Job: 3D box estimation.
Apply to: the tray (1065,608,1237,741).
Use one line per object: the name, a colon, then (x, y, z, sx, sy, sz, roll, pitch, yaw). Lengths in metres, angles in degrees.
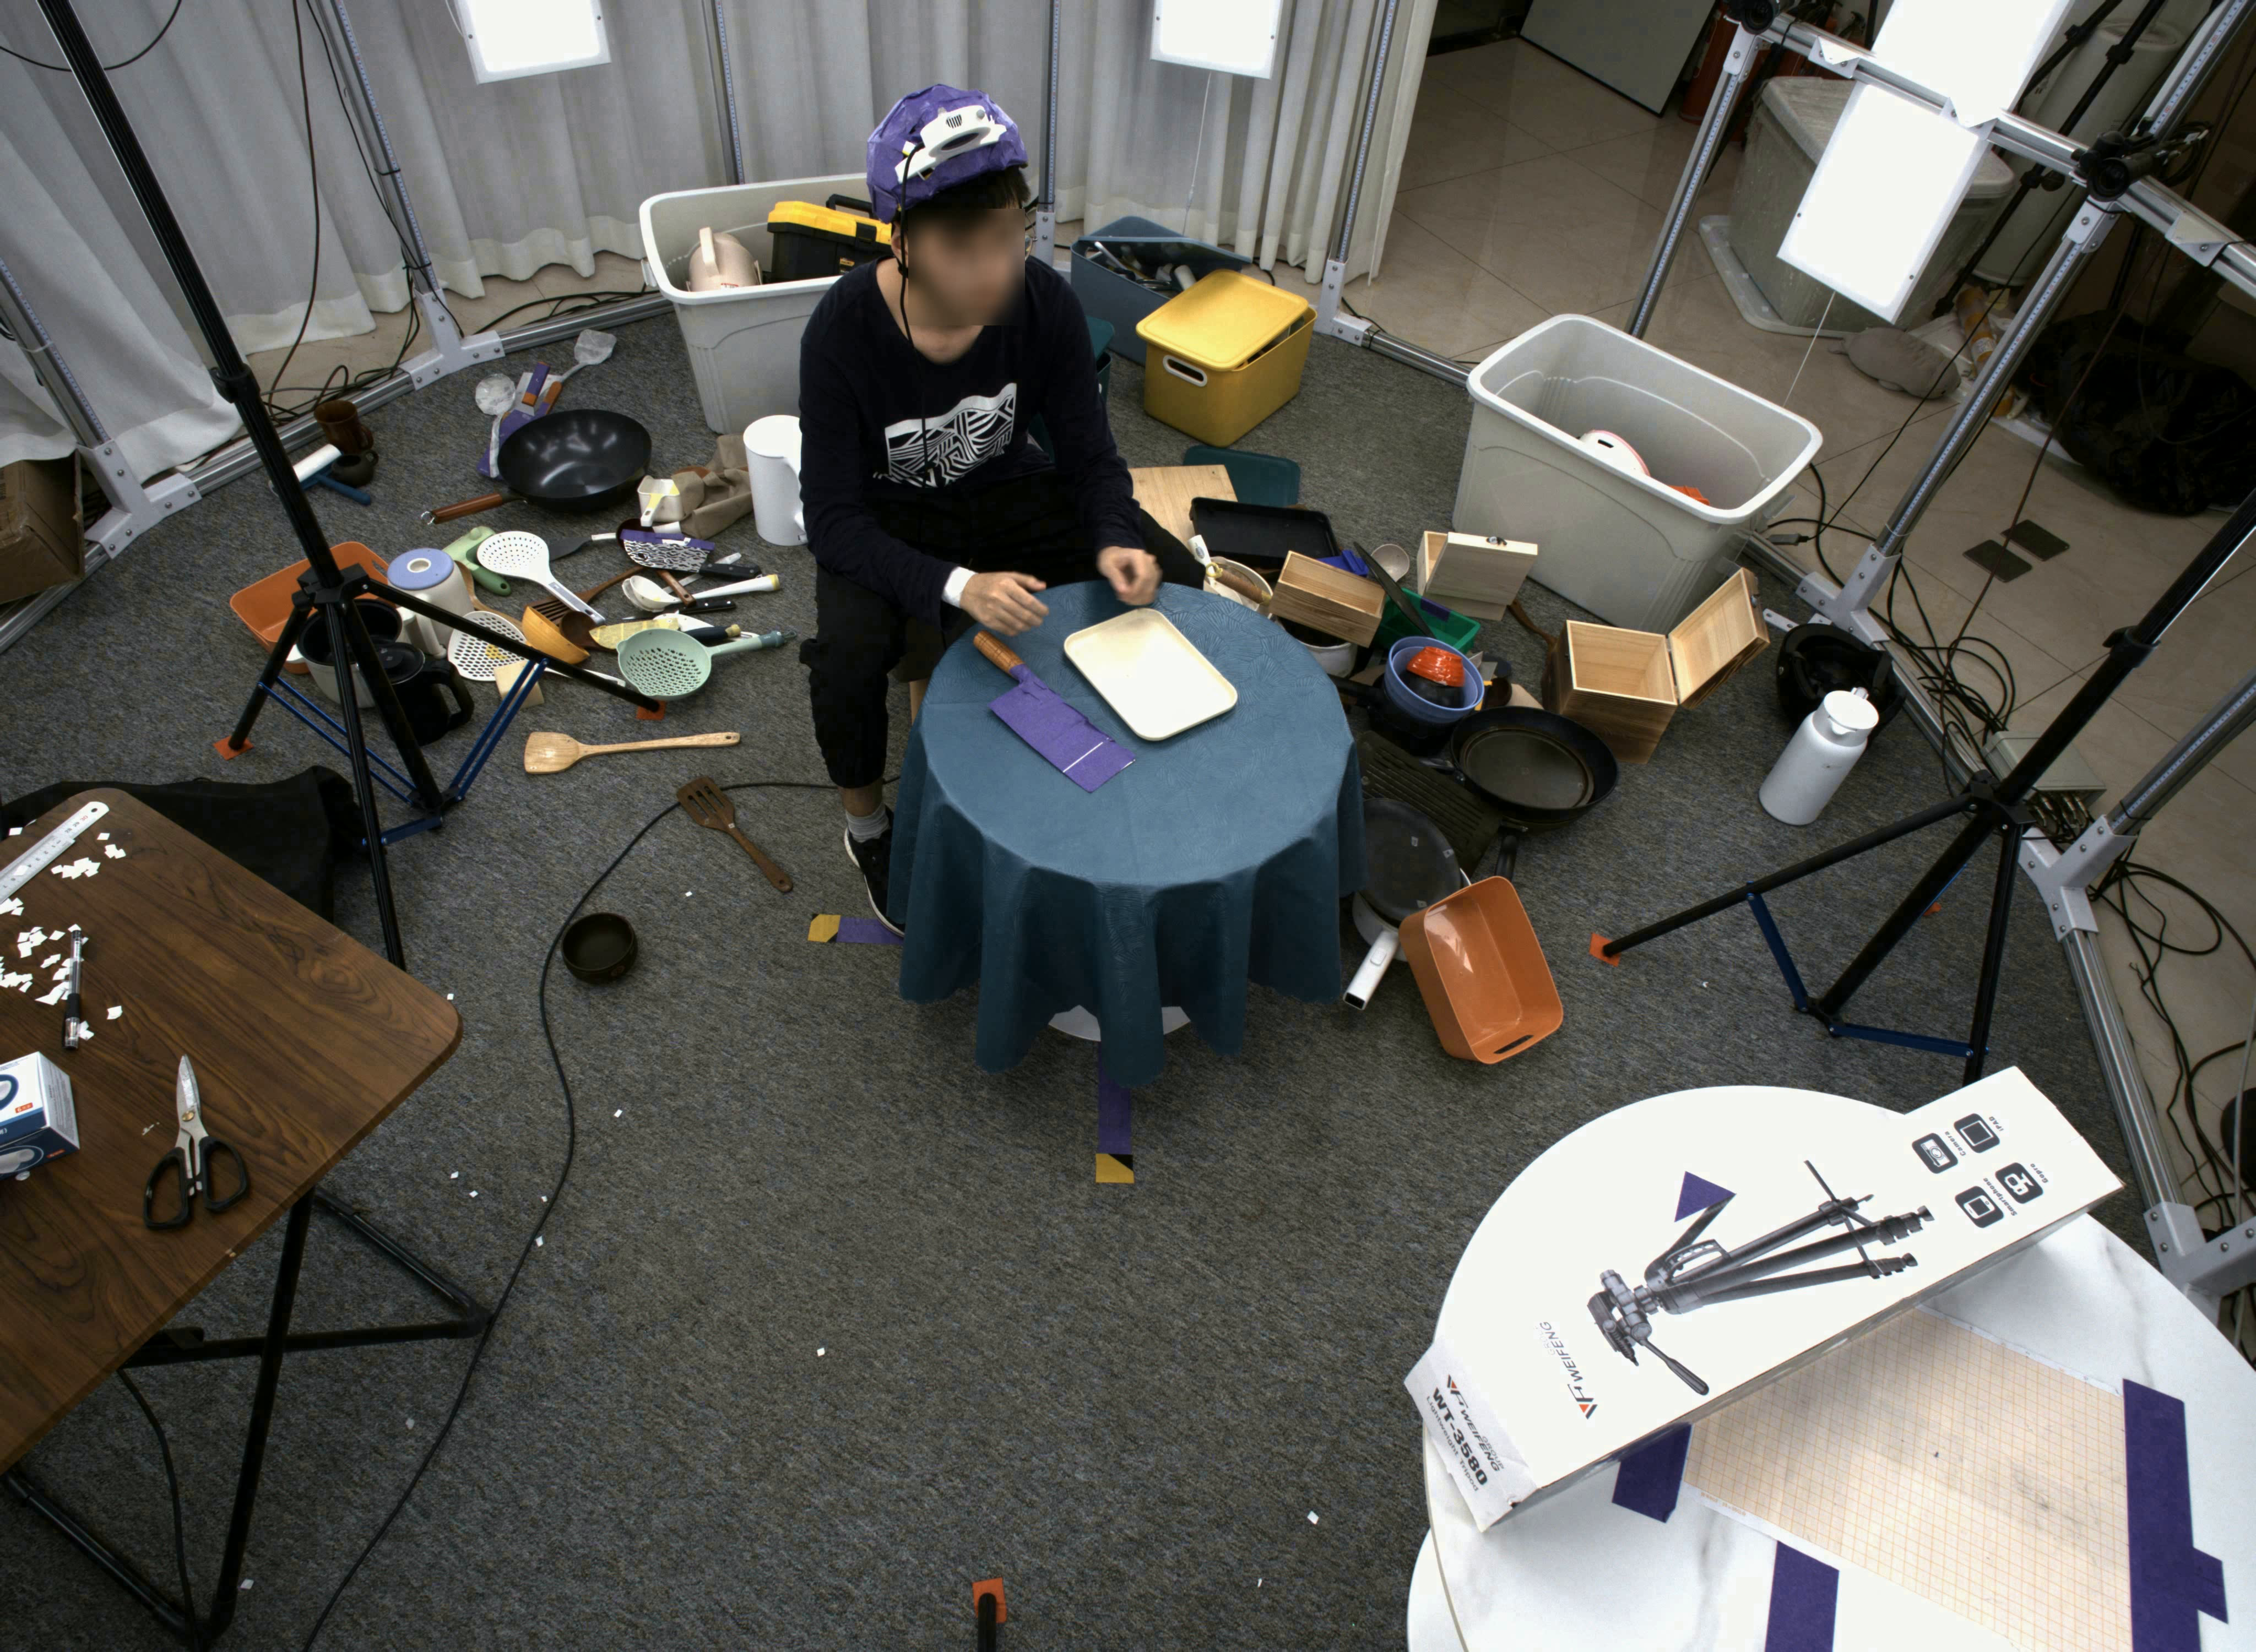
tray: (0.031, -0.220, 1.848, 0.172, 0.017, 0.244, -25, 55, -22)

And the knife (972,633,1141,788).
knife: (-0.126, -0.164, 1.783, 0.105, 0.031, 0.320, -35, 60, -30)
